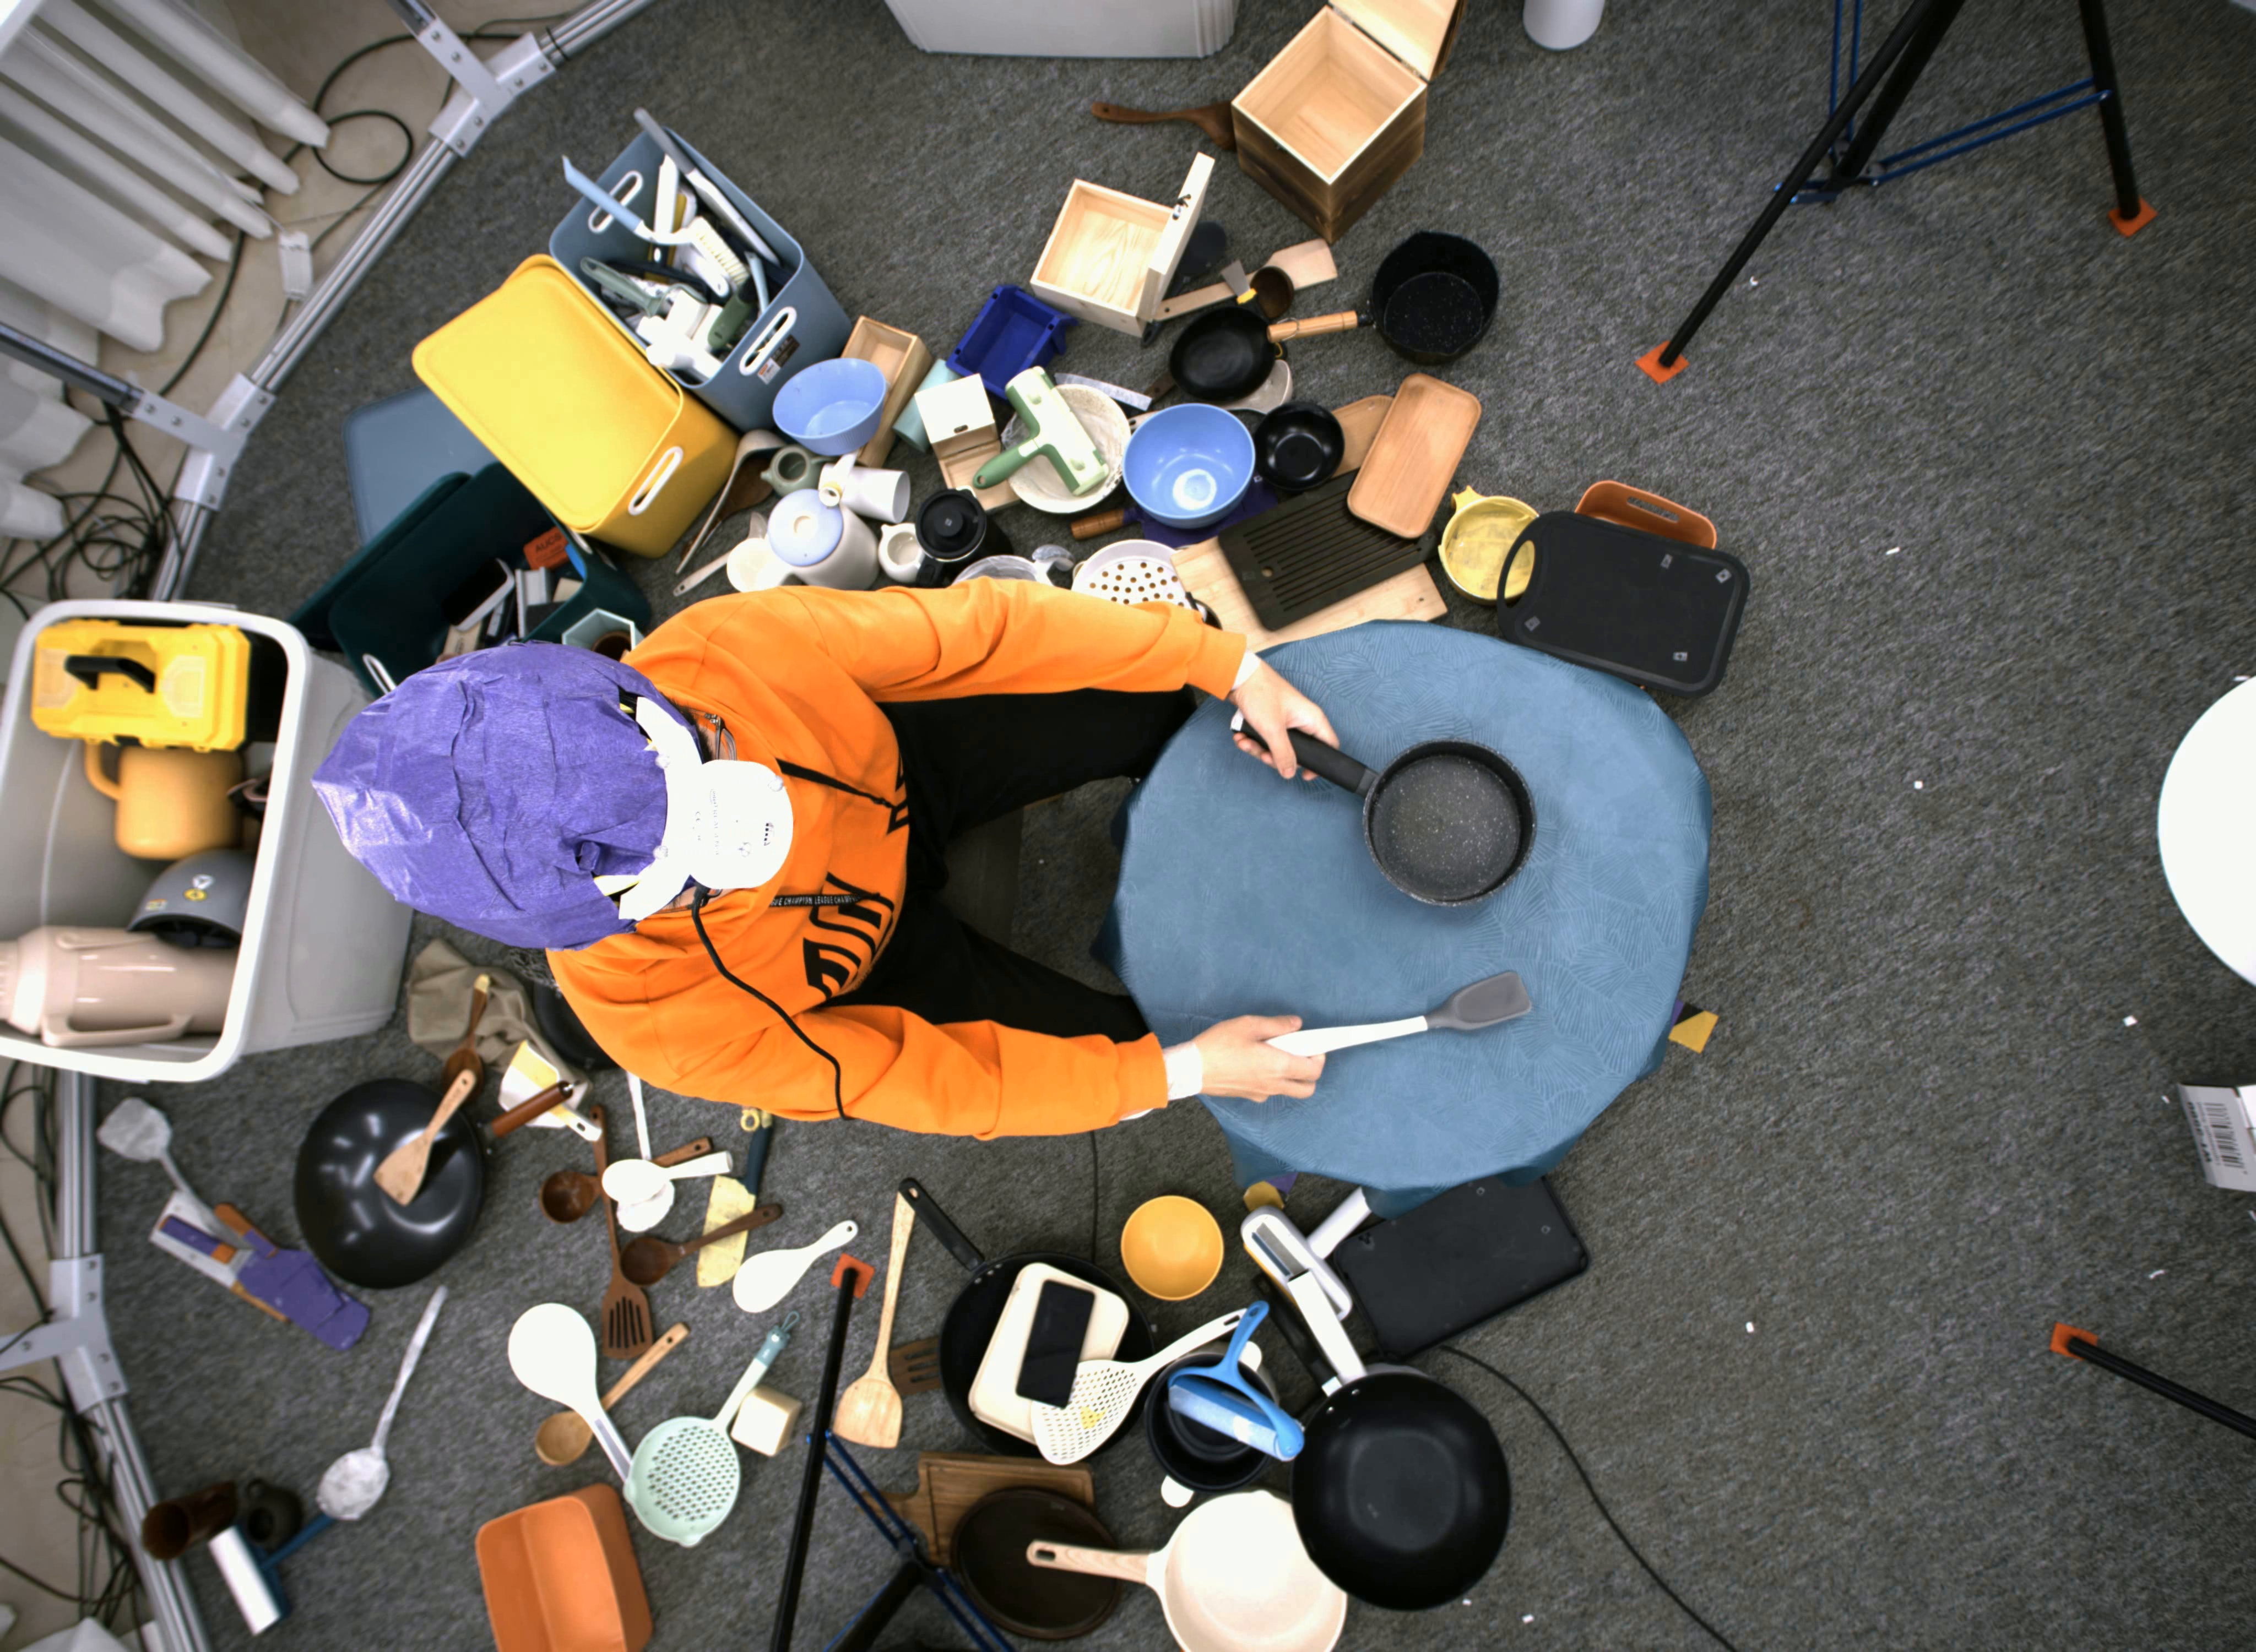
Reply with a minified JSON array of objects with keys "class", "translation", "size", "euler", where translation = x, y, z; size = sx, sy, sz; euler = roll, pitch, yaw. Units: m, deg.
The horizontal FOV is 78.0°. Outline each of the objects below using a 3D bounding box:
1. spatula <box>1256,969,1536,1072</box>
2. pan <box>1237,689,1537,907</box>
[{"class":"spatula","translation":[0.274,0.203,1.419],"size":[0.288,0.033,0.057],"euler":[-13,49,0]},{"class":"pan","translation":[0.260,-0.042,1.425],"size":[0.328,0.086,0.172],"euler":[31,91,9]}]
